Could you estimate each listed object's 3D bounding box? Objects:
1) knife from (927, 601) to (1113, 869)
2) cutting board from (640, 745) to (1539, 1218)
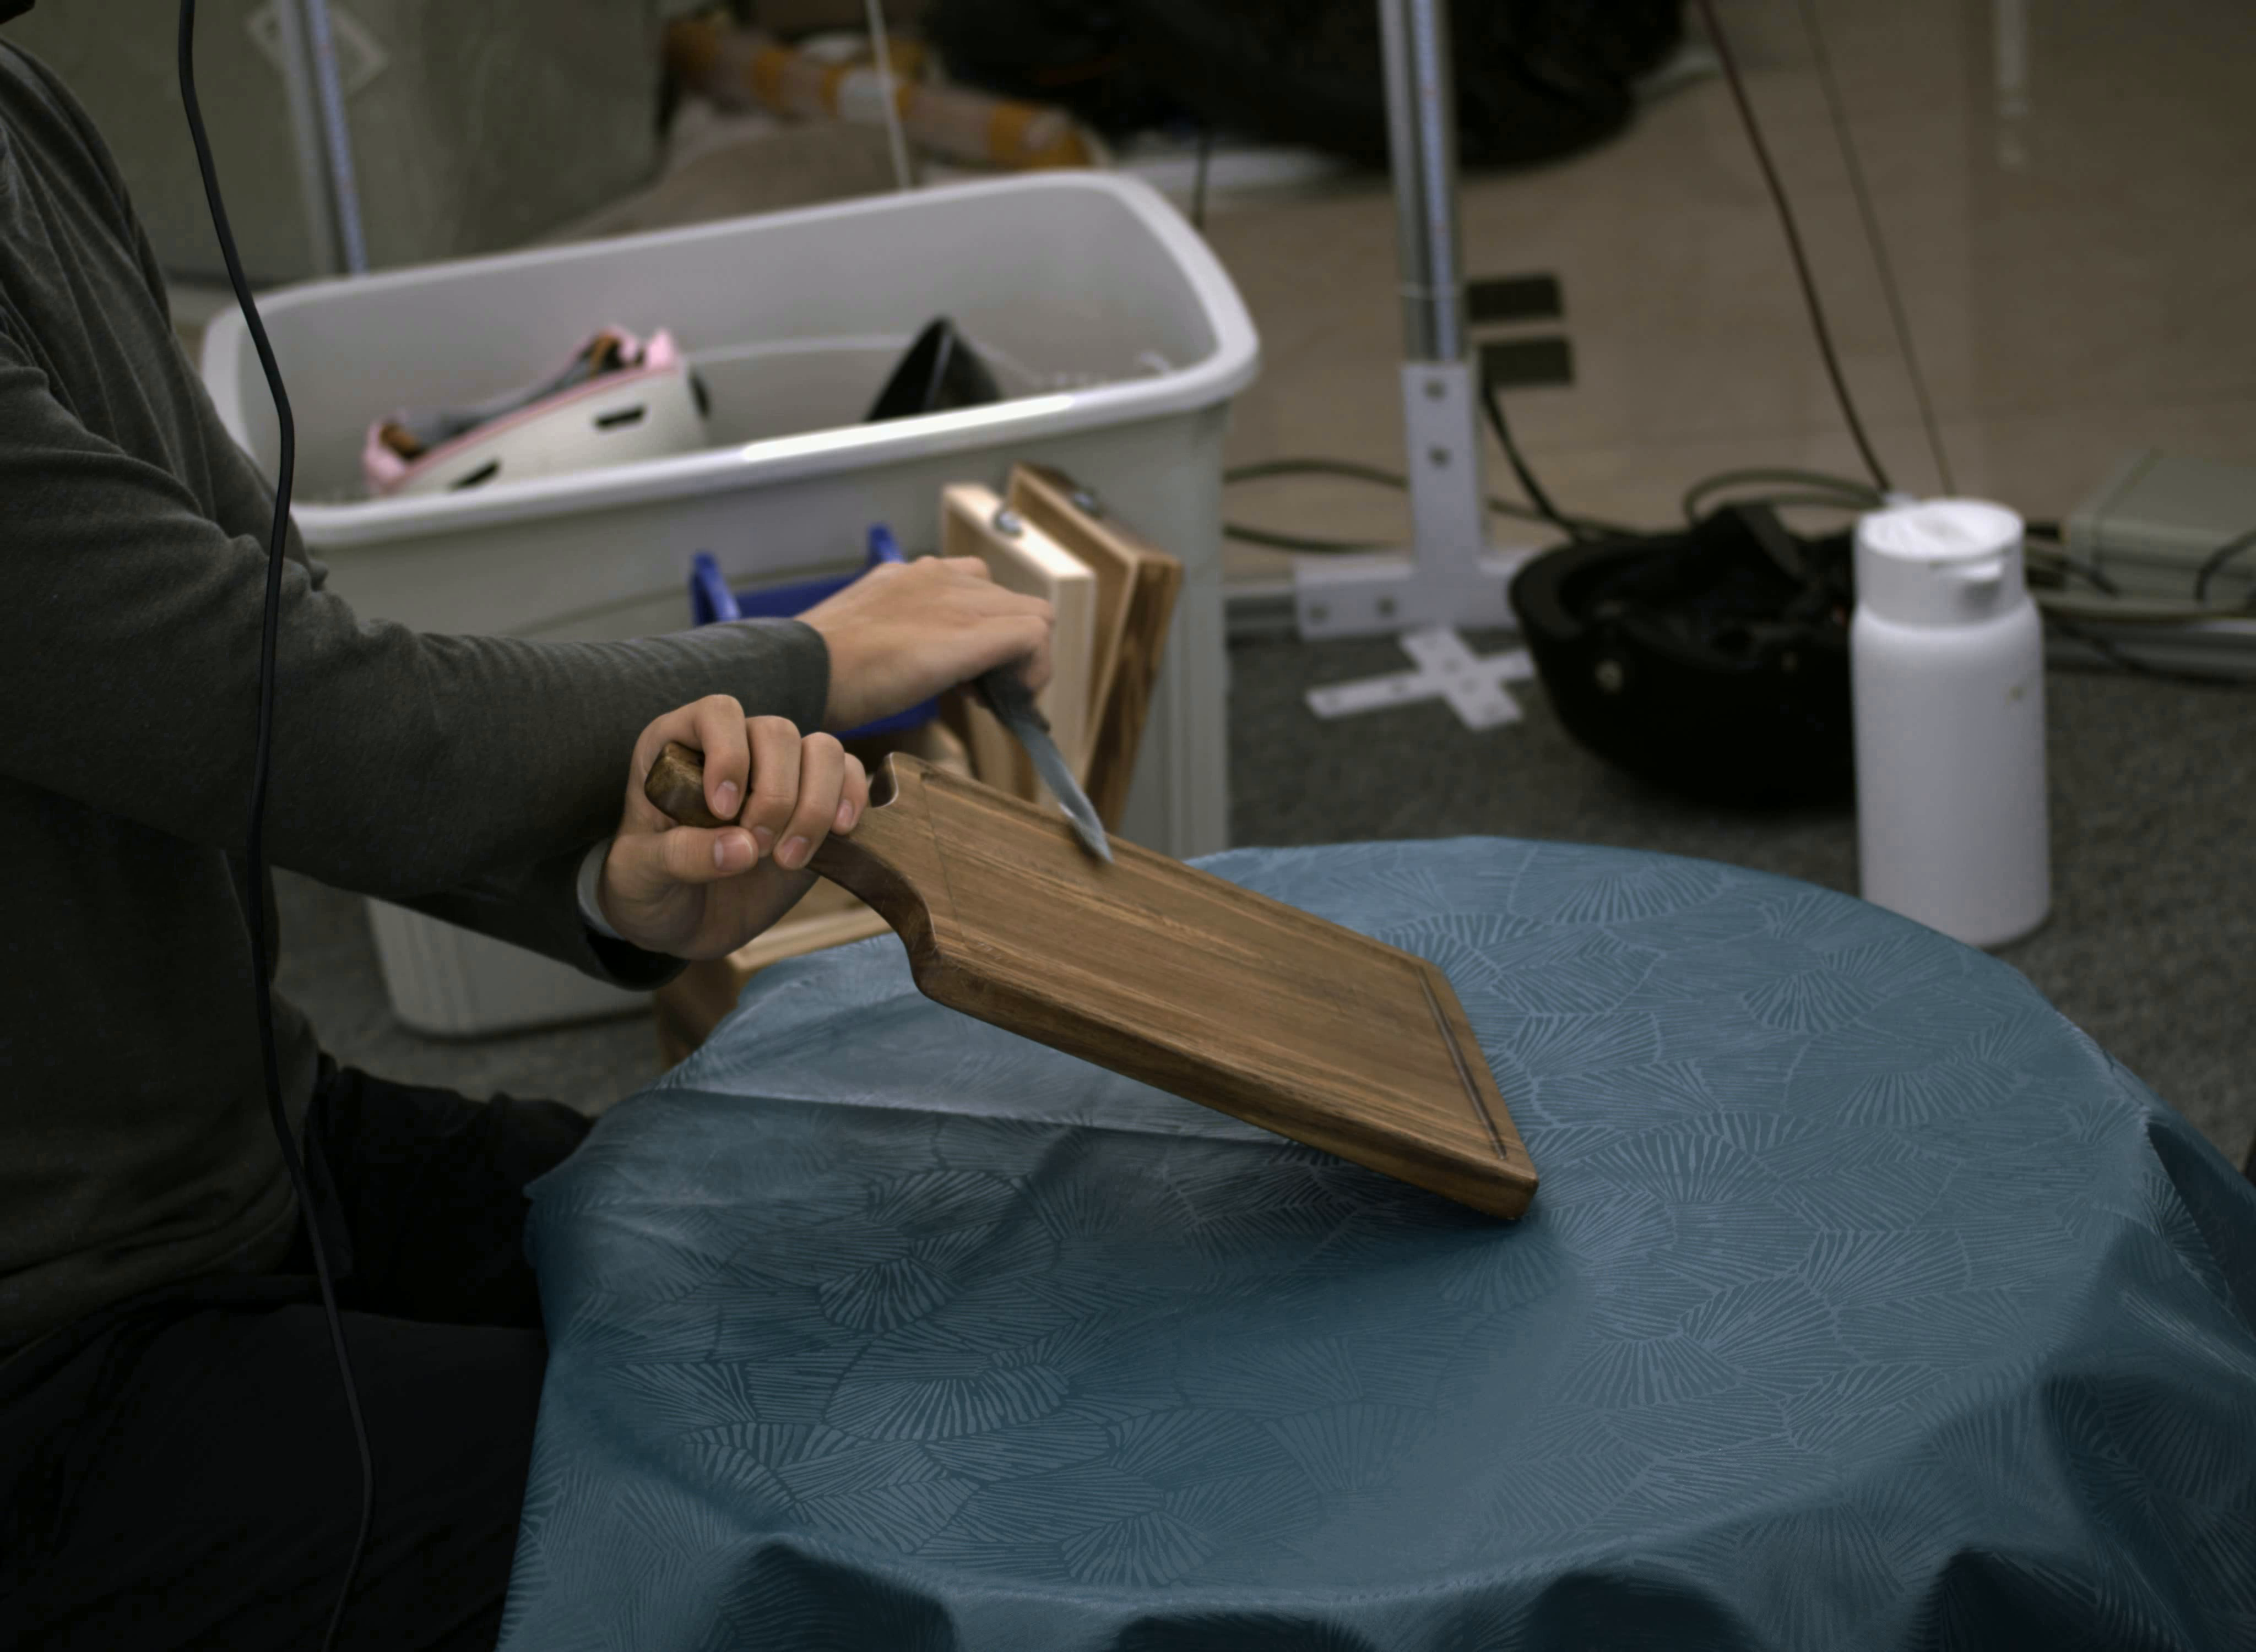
[{"bbox_3d":[-0.044,-0.038,2.275,0.024,0.016,0.234,20,19,-27],"label":"knife"},{"bbox_3d":[-0.019,0.041,2.126,0.353,0.023,0.198,21,19,-18],"label":"cutting board"}]
